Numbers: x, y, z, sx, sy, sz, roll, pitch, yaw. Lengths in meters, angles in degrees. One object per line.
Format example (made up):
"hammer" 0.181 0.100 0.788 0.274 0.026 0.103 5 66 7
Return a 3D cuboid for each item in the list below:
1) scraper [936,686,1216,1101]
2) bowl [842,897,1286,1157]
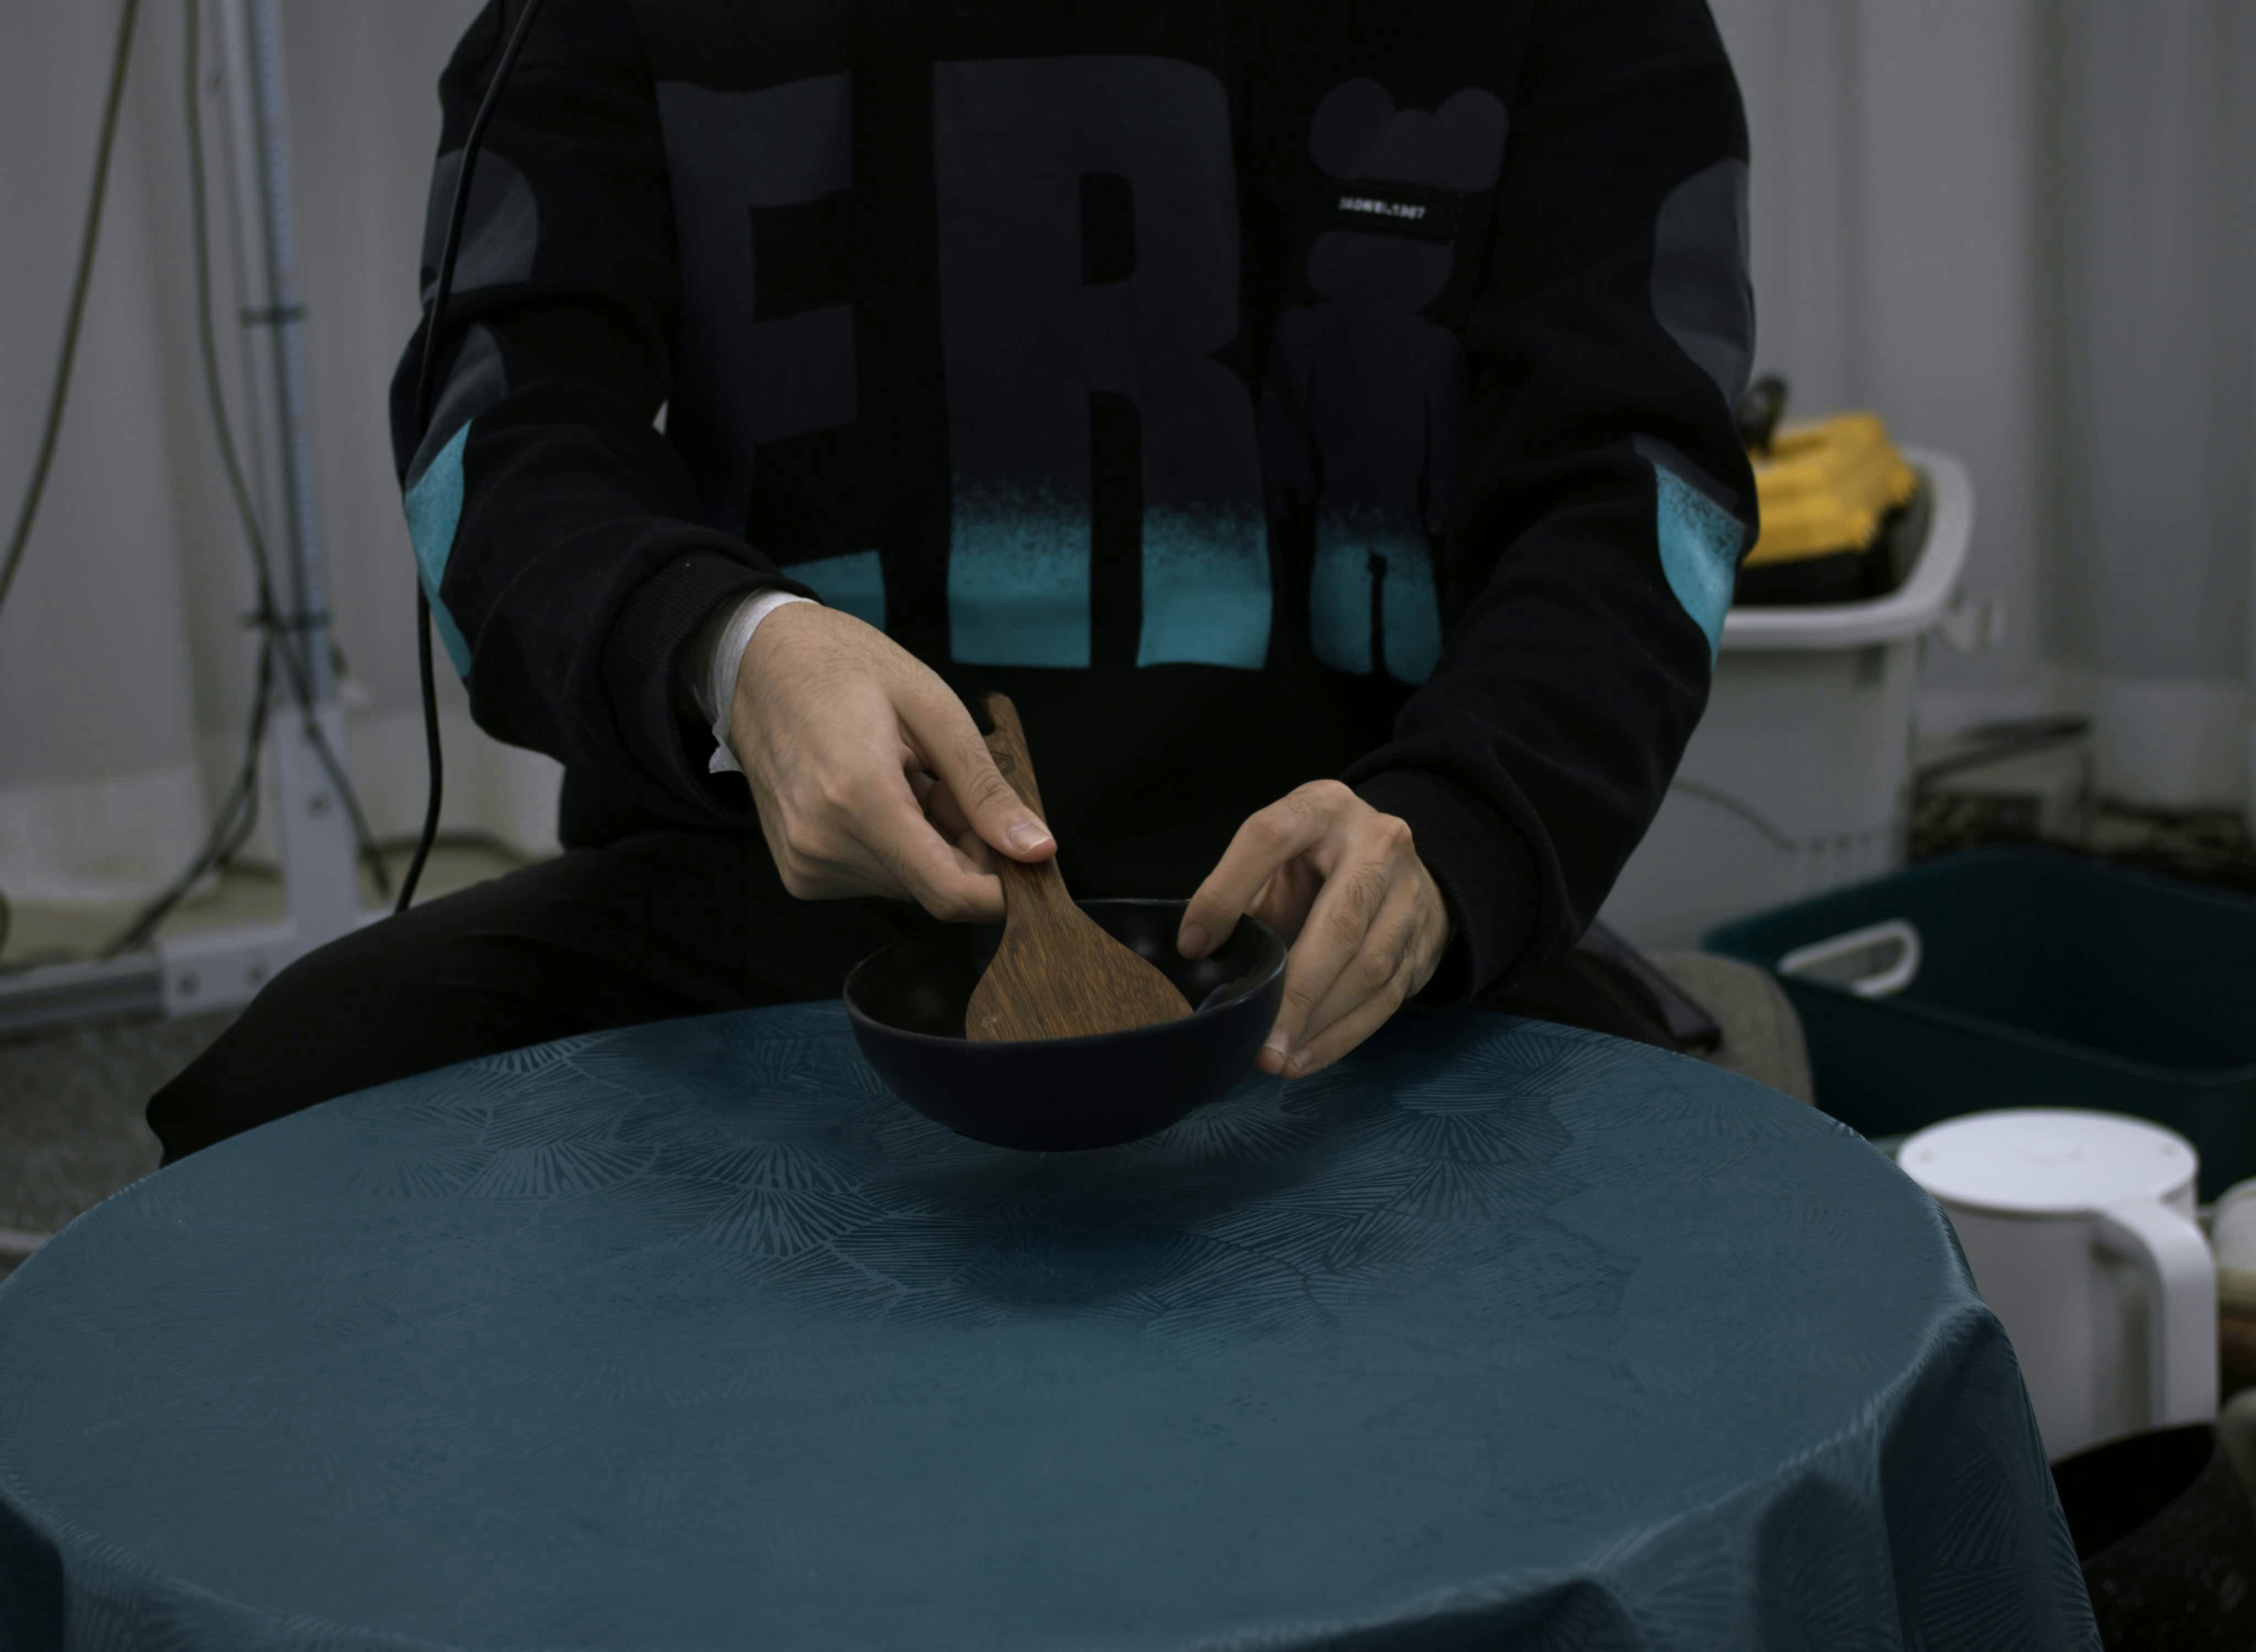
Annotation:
"scraper" -0.029 0.019 1.728 0.075 0.010 0.214 -7 38 -10
"bowl" -0.017 0.067 1.695 0.139 0.049 0.141 -7 16 2
